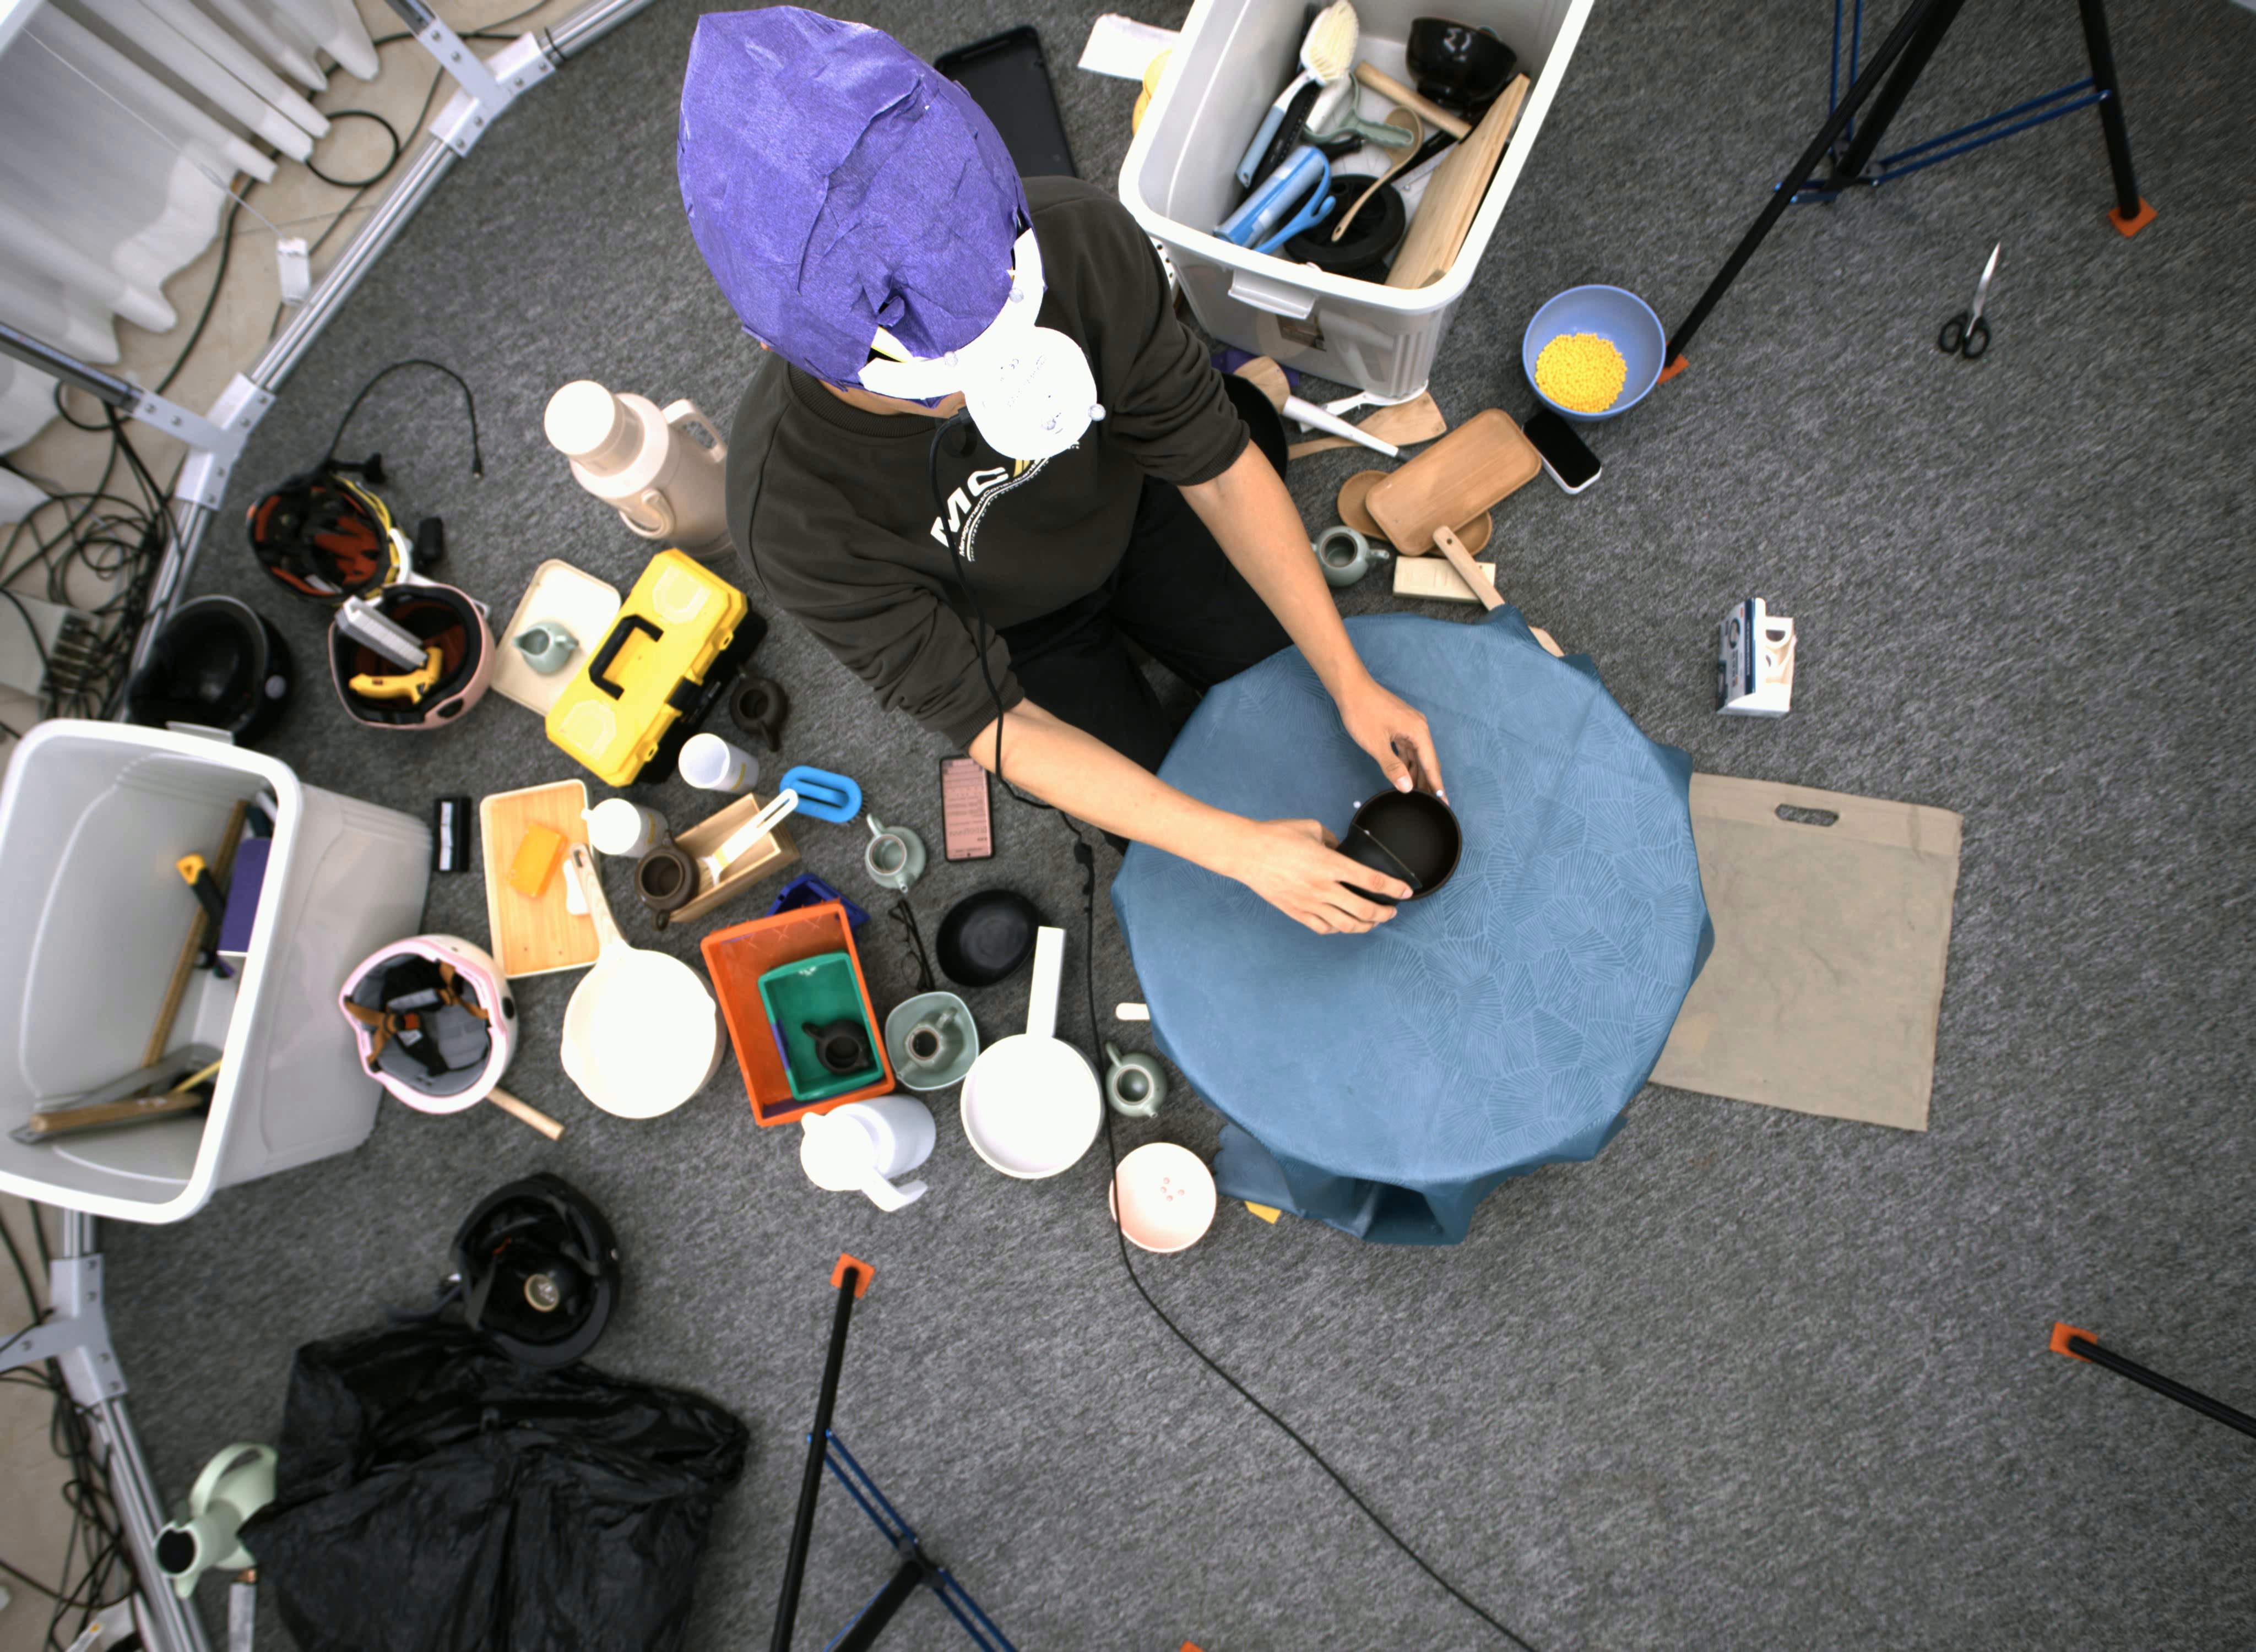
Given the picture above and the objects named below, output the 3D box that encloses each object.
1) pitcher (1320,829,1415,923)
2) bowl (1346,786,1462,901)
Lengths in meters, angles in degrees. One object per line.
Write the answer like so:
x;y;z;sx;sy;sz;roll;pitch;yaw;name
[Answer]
0.230;0.052;1.356;0.083;0.096;0.071;40;90;22;pitcher
0.284;0.018;1.424;0.118;0.070;0.118;0;88;10;bowl
